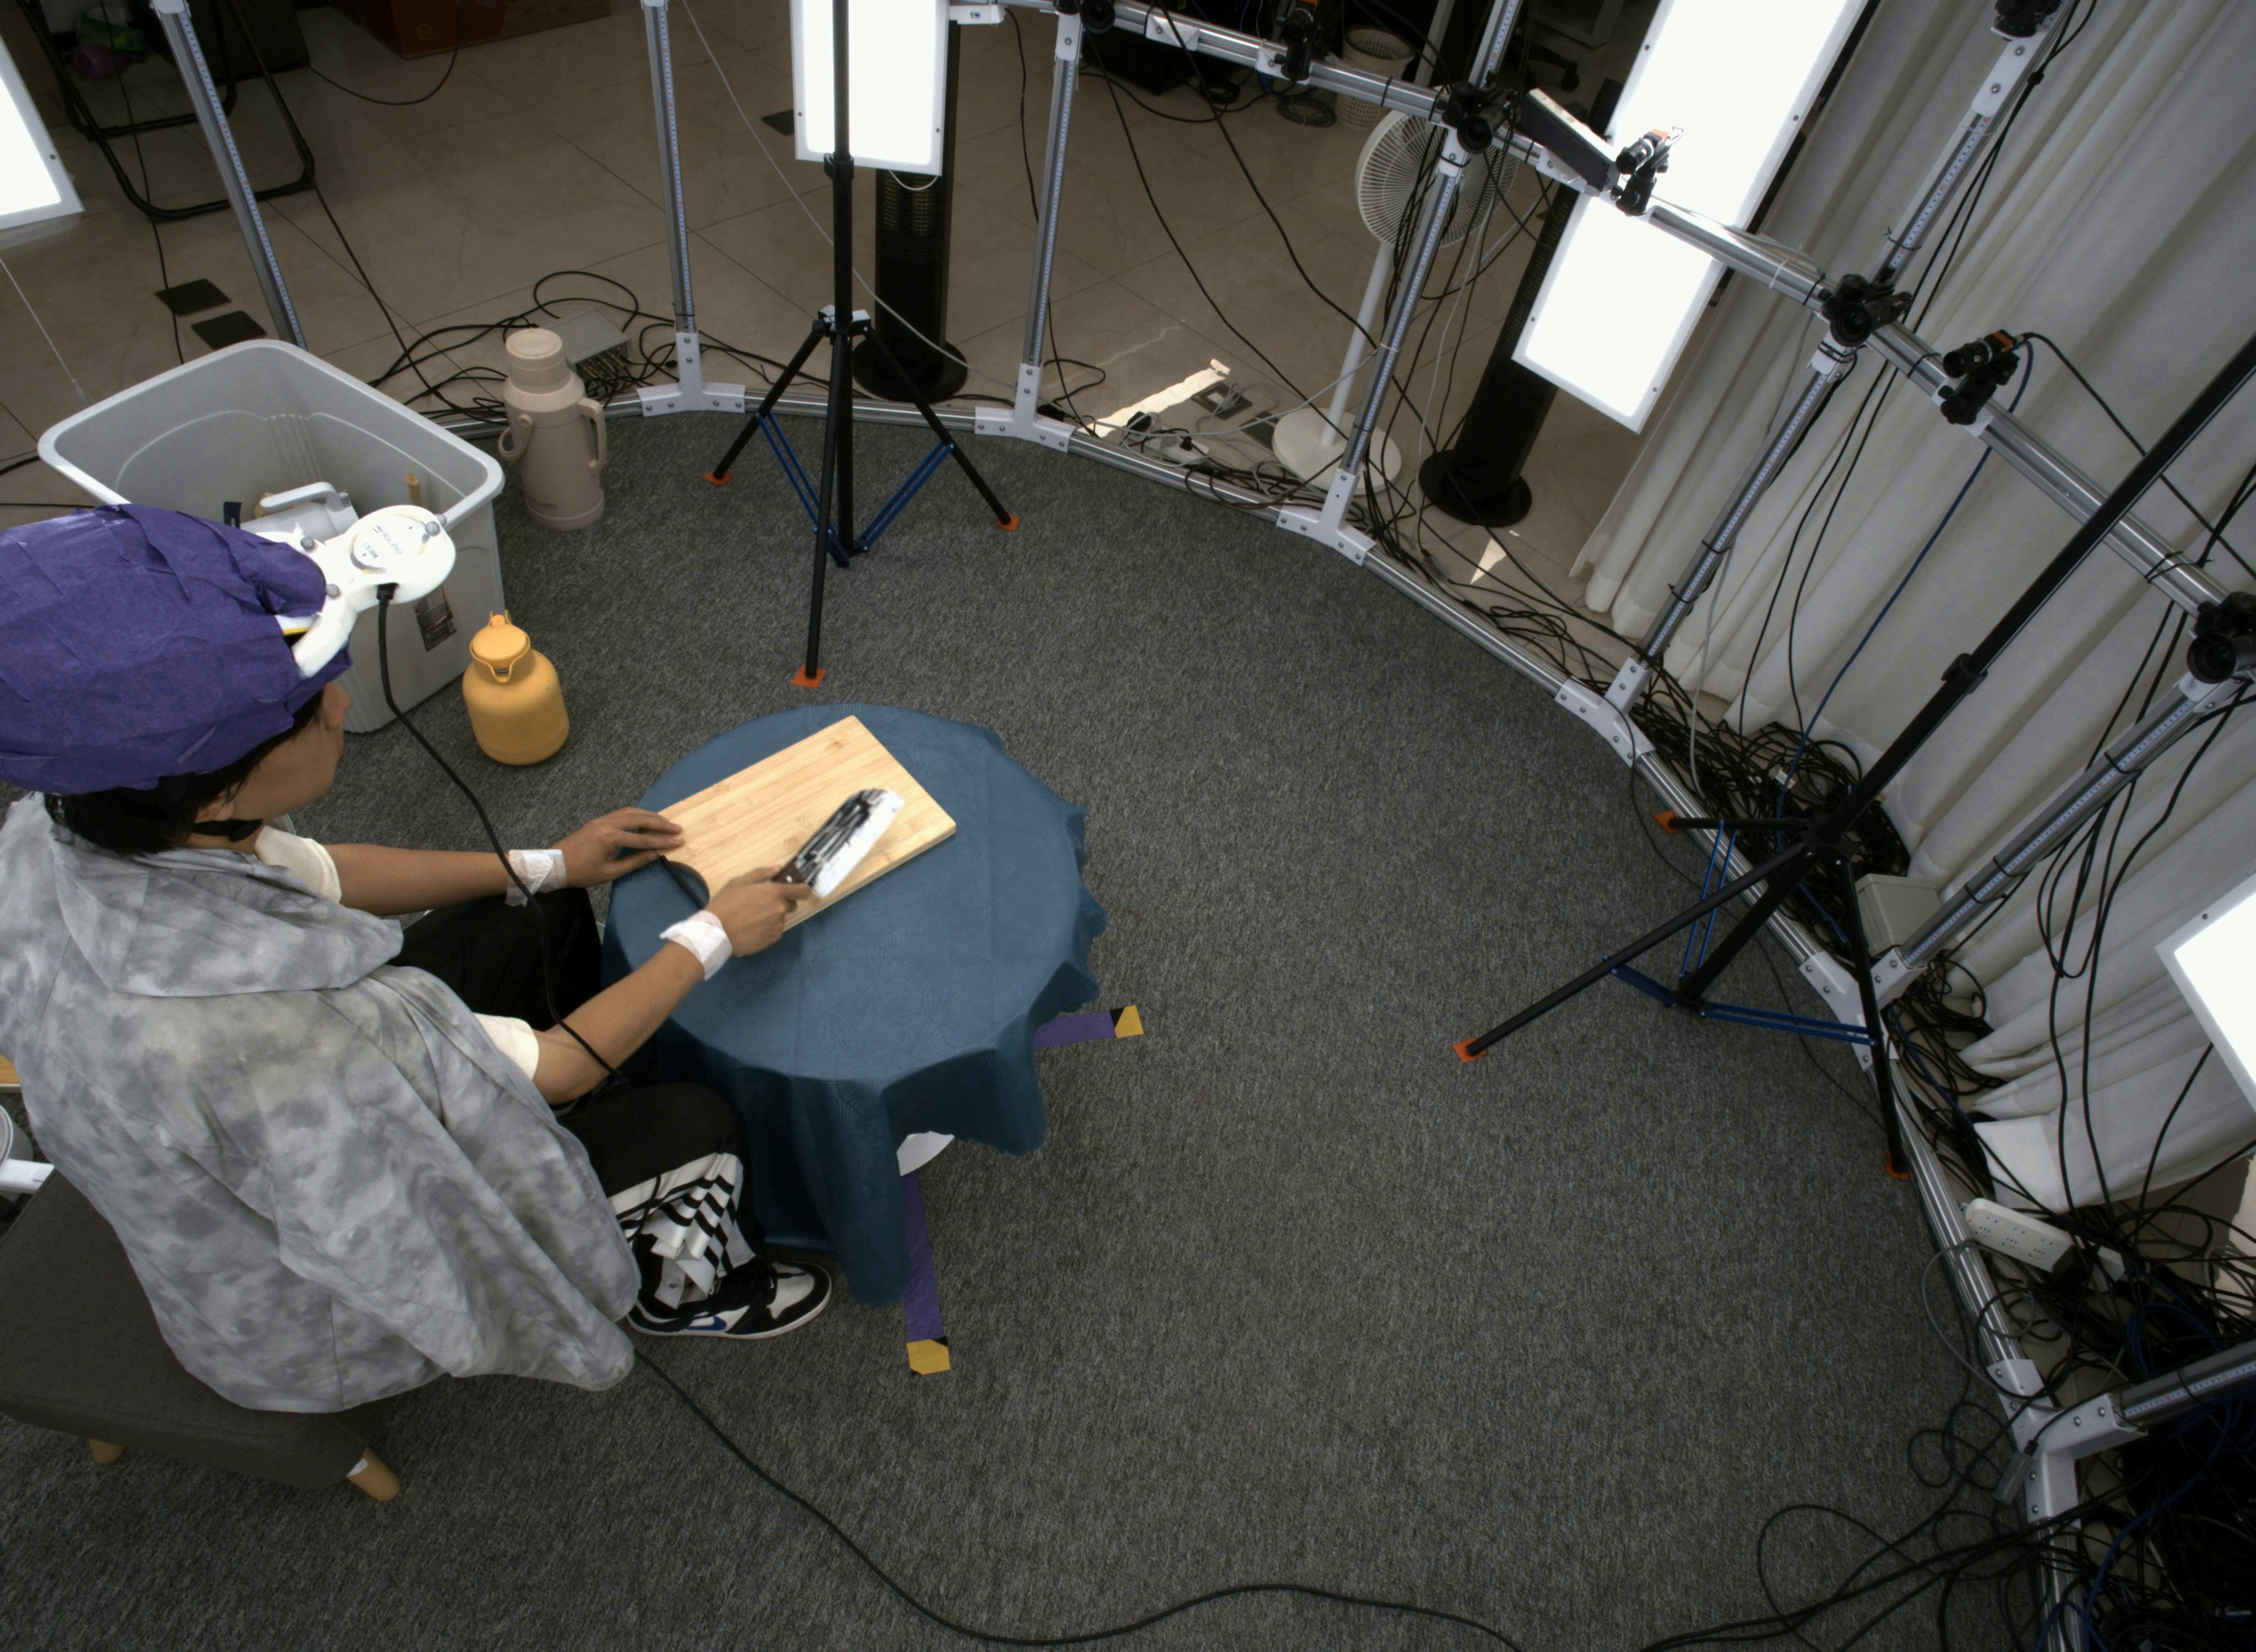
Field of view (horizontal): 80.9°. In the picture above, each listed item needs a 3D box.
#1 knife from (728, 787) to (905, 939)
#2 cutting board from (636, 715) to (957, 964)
[{"bbox_3d":[-0.382,0.046,1.621,0.070,0.023,0.299,55,54,-25],"label":"knife"},{"bbox_3d":[-0.432,0.006,1.710,0.349,0.024,0.245,-34,67,-31],"label":"cutting board"}]
